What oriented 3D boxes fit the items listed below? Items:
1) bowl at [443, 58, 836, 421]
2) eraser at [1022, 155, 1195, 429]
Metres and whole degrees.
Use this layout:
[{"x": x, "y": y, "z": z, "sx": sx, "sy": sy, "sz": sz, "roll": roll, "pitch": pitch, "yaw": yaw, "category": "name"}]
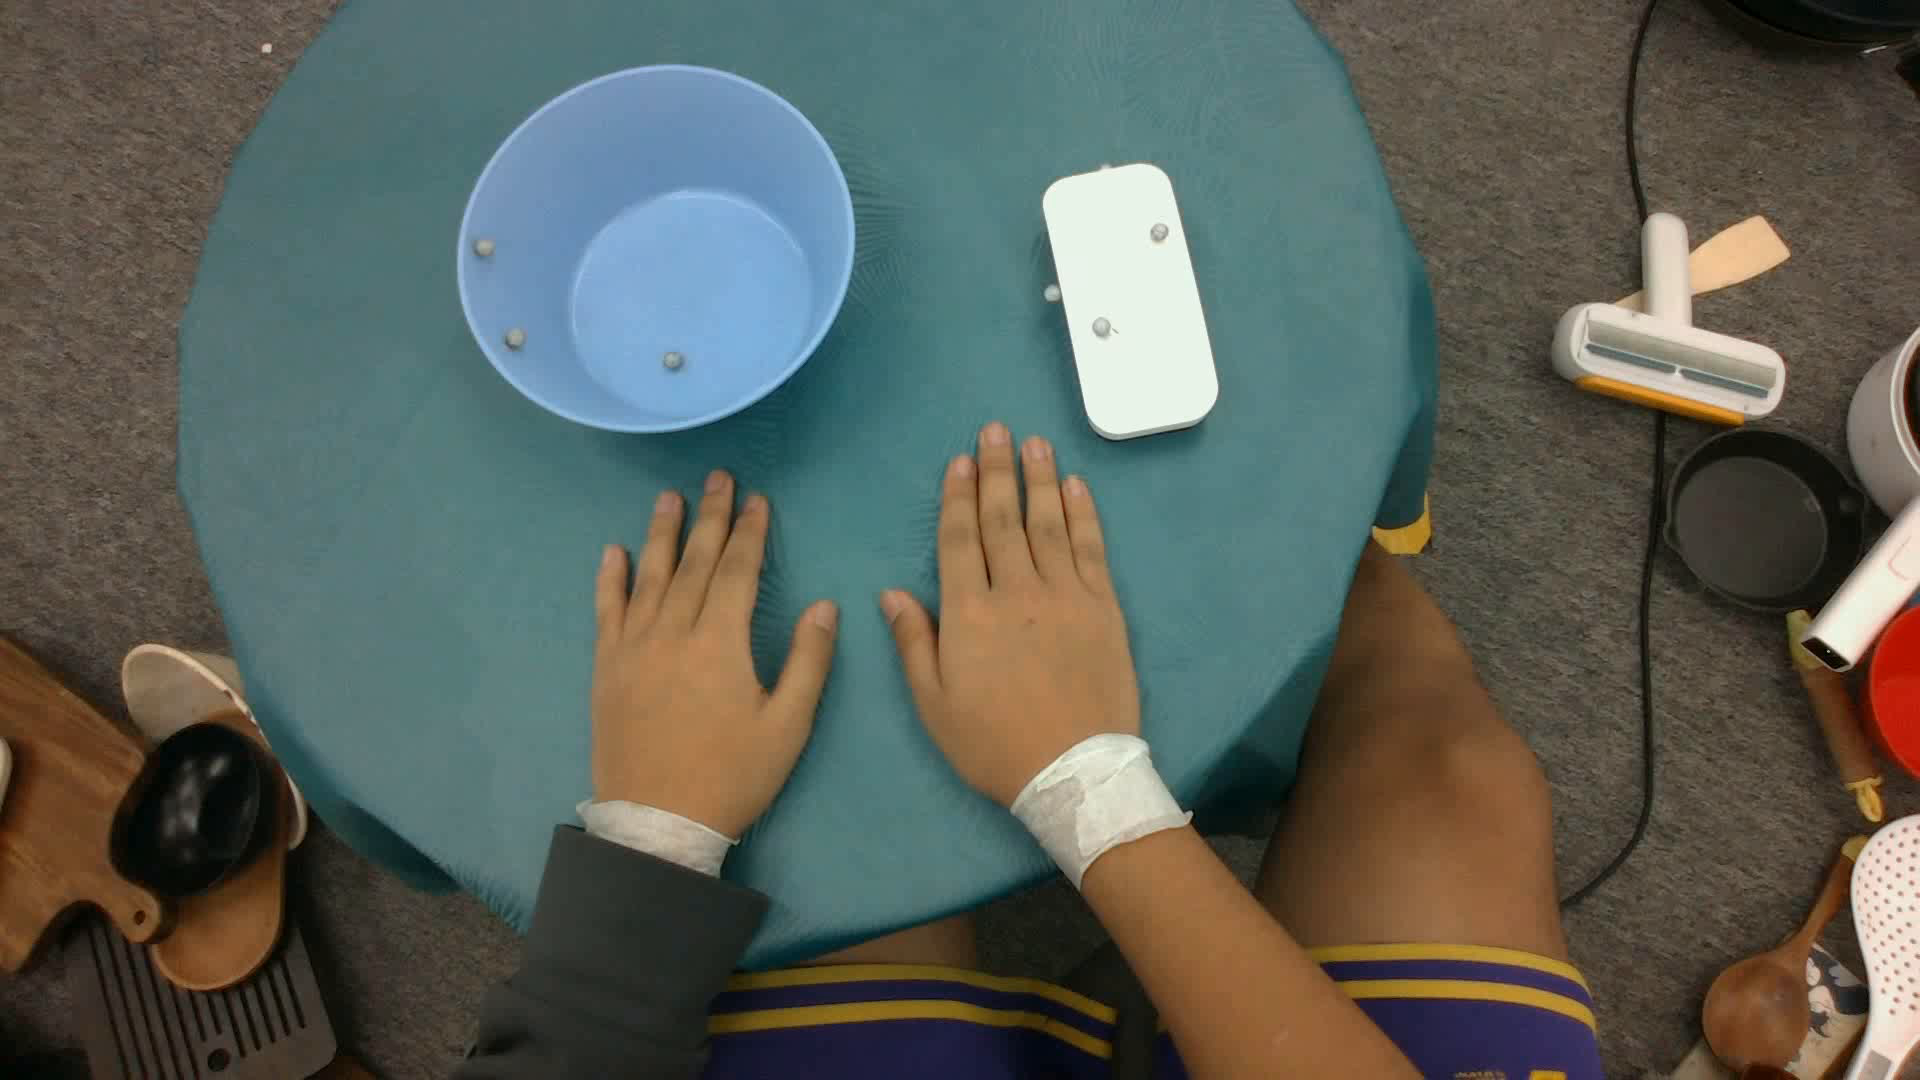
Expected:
[{"x": -0.140, "y": -0.127, "z": 0.636, "sx": 0.176, "sy": 0.070, "sz": 0.176, "roll": -1, "pitch": 75, "yaw": 3, "category": "bowl"}, {"x": 0.067, "y": -0.117, "z": 0.643, "sx": 0.063, "sy": 0.034, "sz": 0.131, "roll": -10, "pitch": 73, "yaw": 1, "category": "eraser"}]
